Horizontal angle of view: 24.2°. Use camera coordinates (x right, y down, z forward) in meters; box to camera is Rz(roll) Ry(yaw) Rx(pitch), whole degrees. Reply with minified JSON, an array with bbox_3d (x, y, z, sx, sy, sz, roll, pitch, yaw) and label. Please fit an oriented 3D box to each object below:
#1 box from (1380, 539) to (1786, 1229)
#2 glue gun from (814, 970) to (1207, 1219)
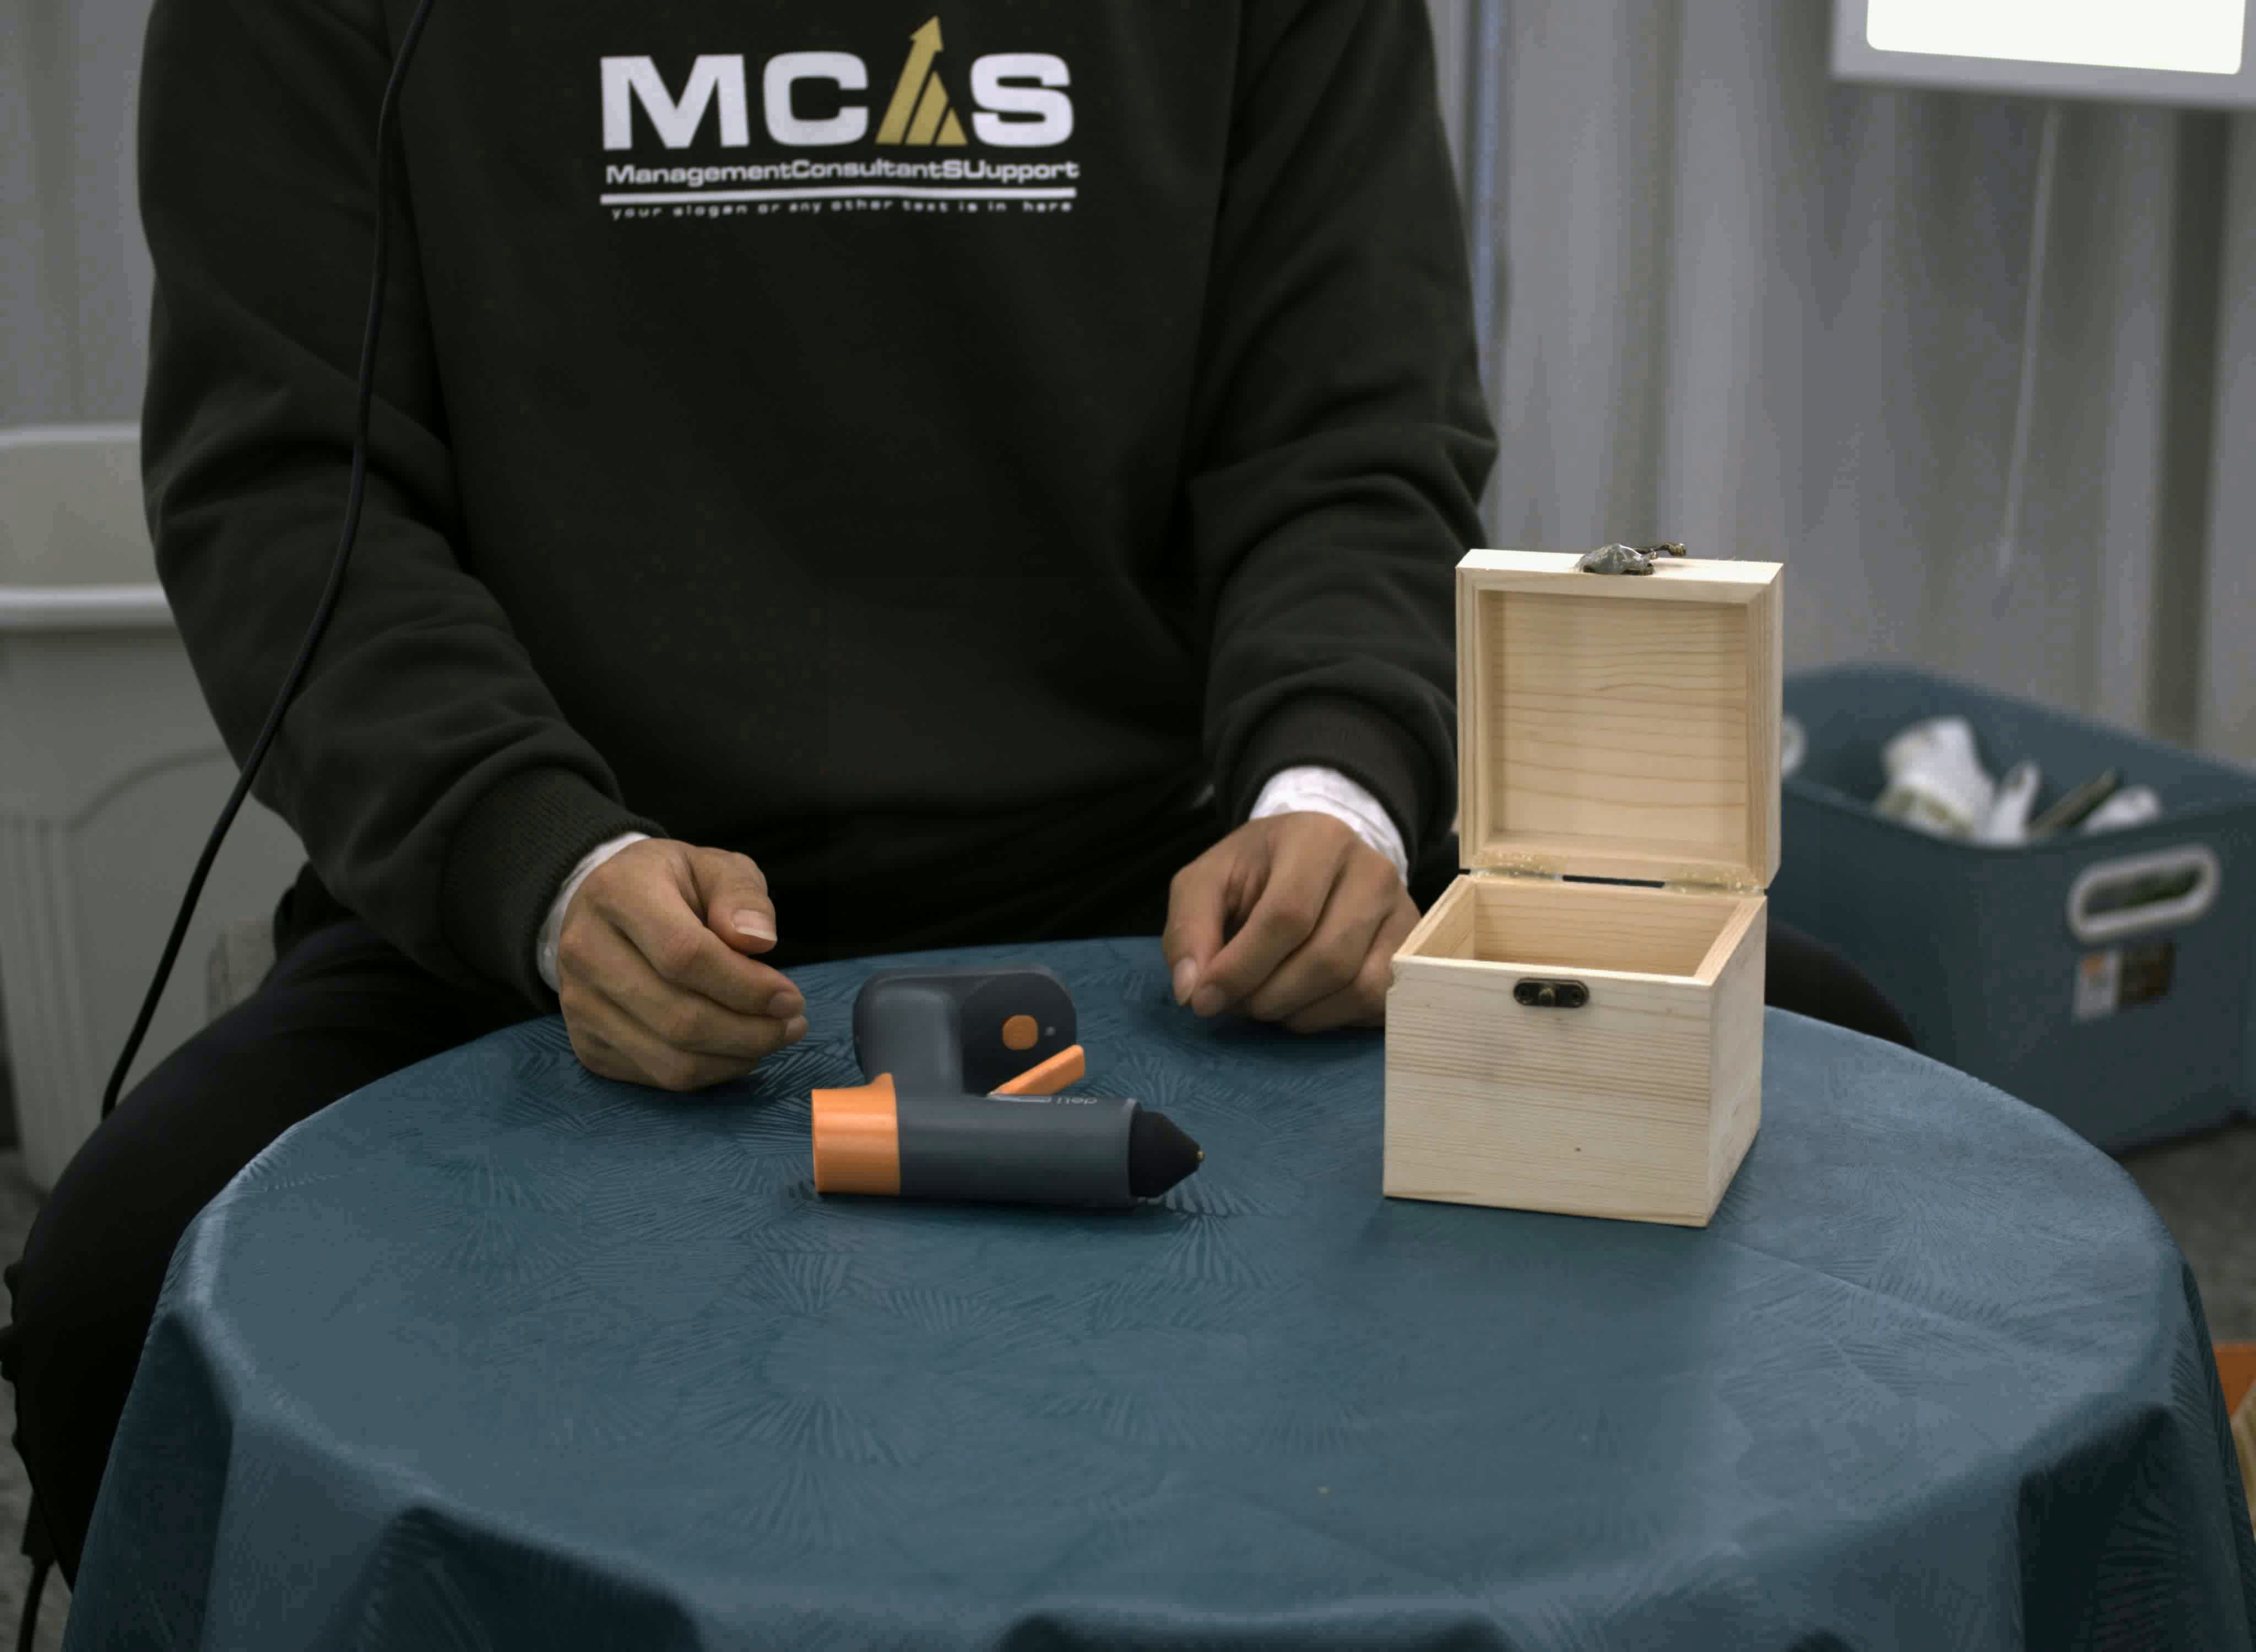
[{"bbox_3d":[0.142,0.014,1.639,0.102,0.186,0.134,5,18,13],"label":"box"},{"bbox_3d":[-0.041,0.087,1.658,0.118,0.041,0.138,1,18,-8],"label":"glue gun"}]
